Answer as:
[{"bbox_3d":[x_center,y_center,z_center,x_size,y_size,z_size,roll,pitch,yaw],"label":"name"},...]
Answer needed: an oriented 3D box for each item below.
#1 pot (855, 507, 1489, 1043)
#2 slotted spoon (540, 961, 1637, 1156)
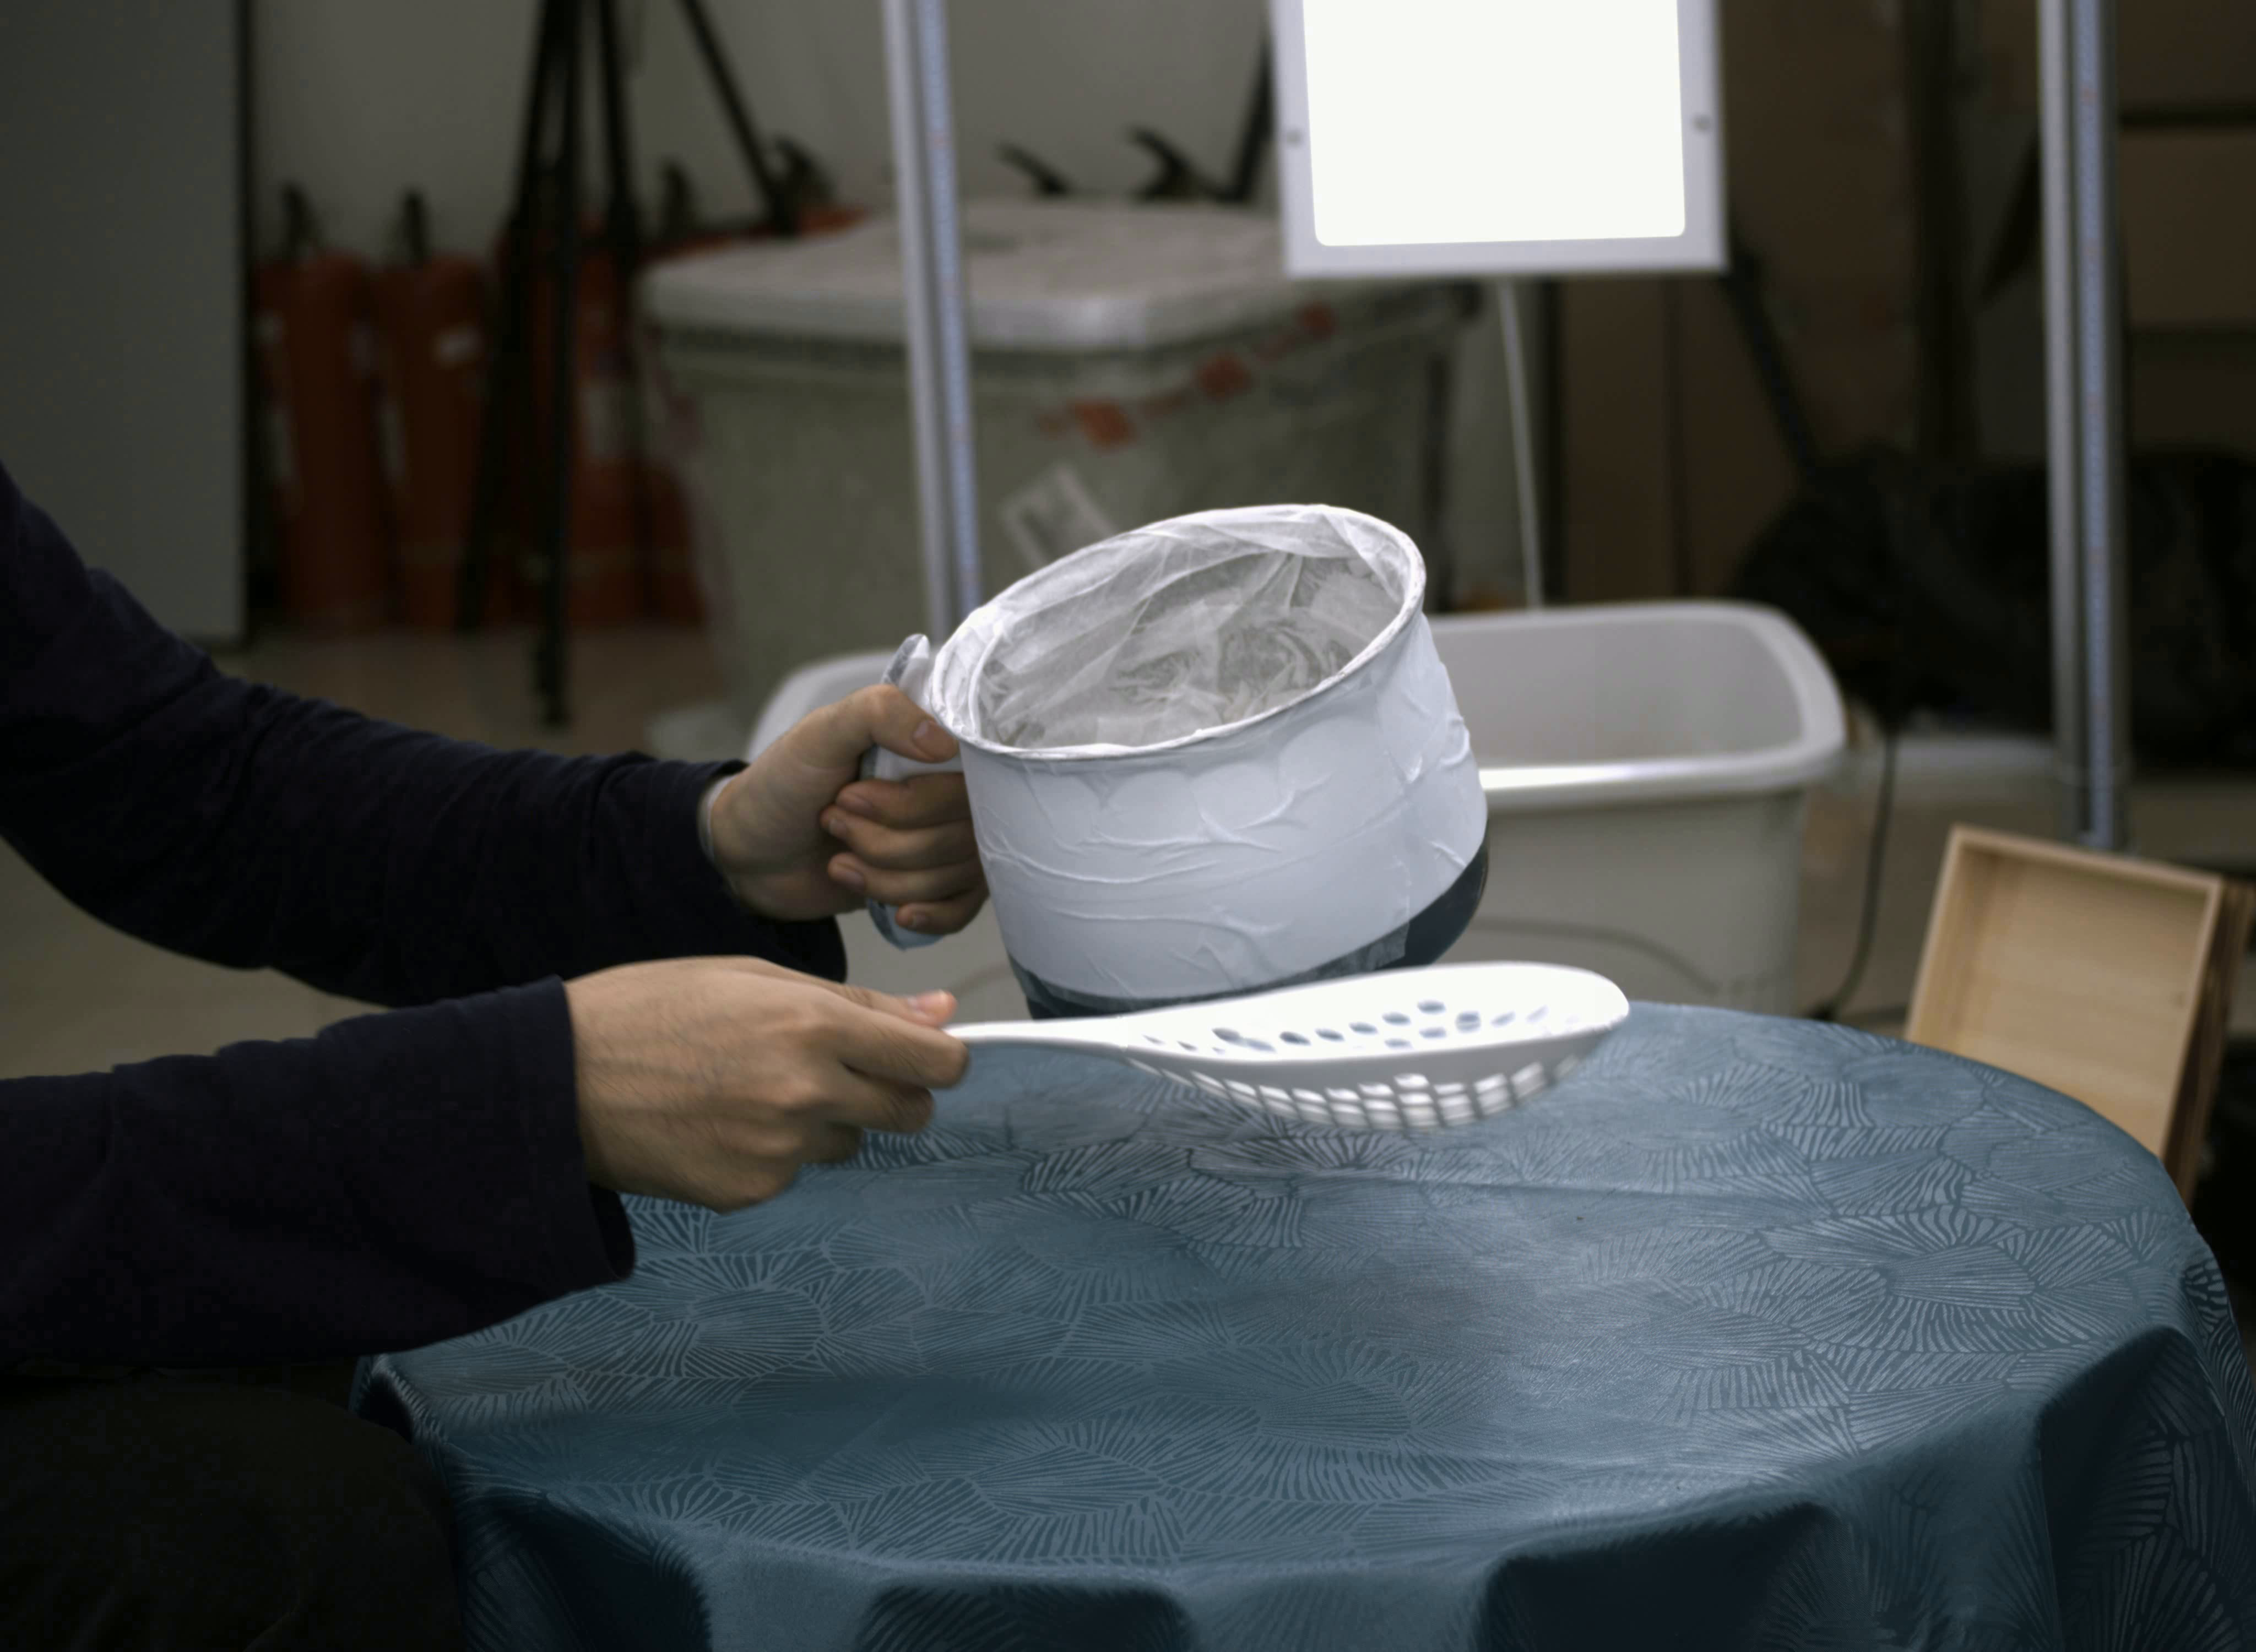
[{"bbox_3d":[0.007,-0.013,1.927,0.237,0.136,0.176,-5,27,23],"label":"pot"},{"bbox_3d":[-0.014,0.078,1.736,0.349,0.050,0.136,0,9,7],"label":"slotted spoon"}]
